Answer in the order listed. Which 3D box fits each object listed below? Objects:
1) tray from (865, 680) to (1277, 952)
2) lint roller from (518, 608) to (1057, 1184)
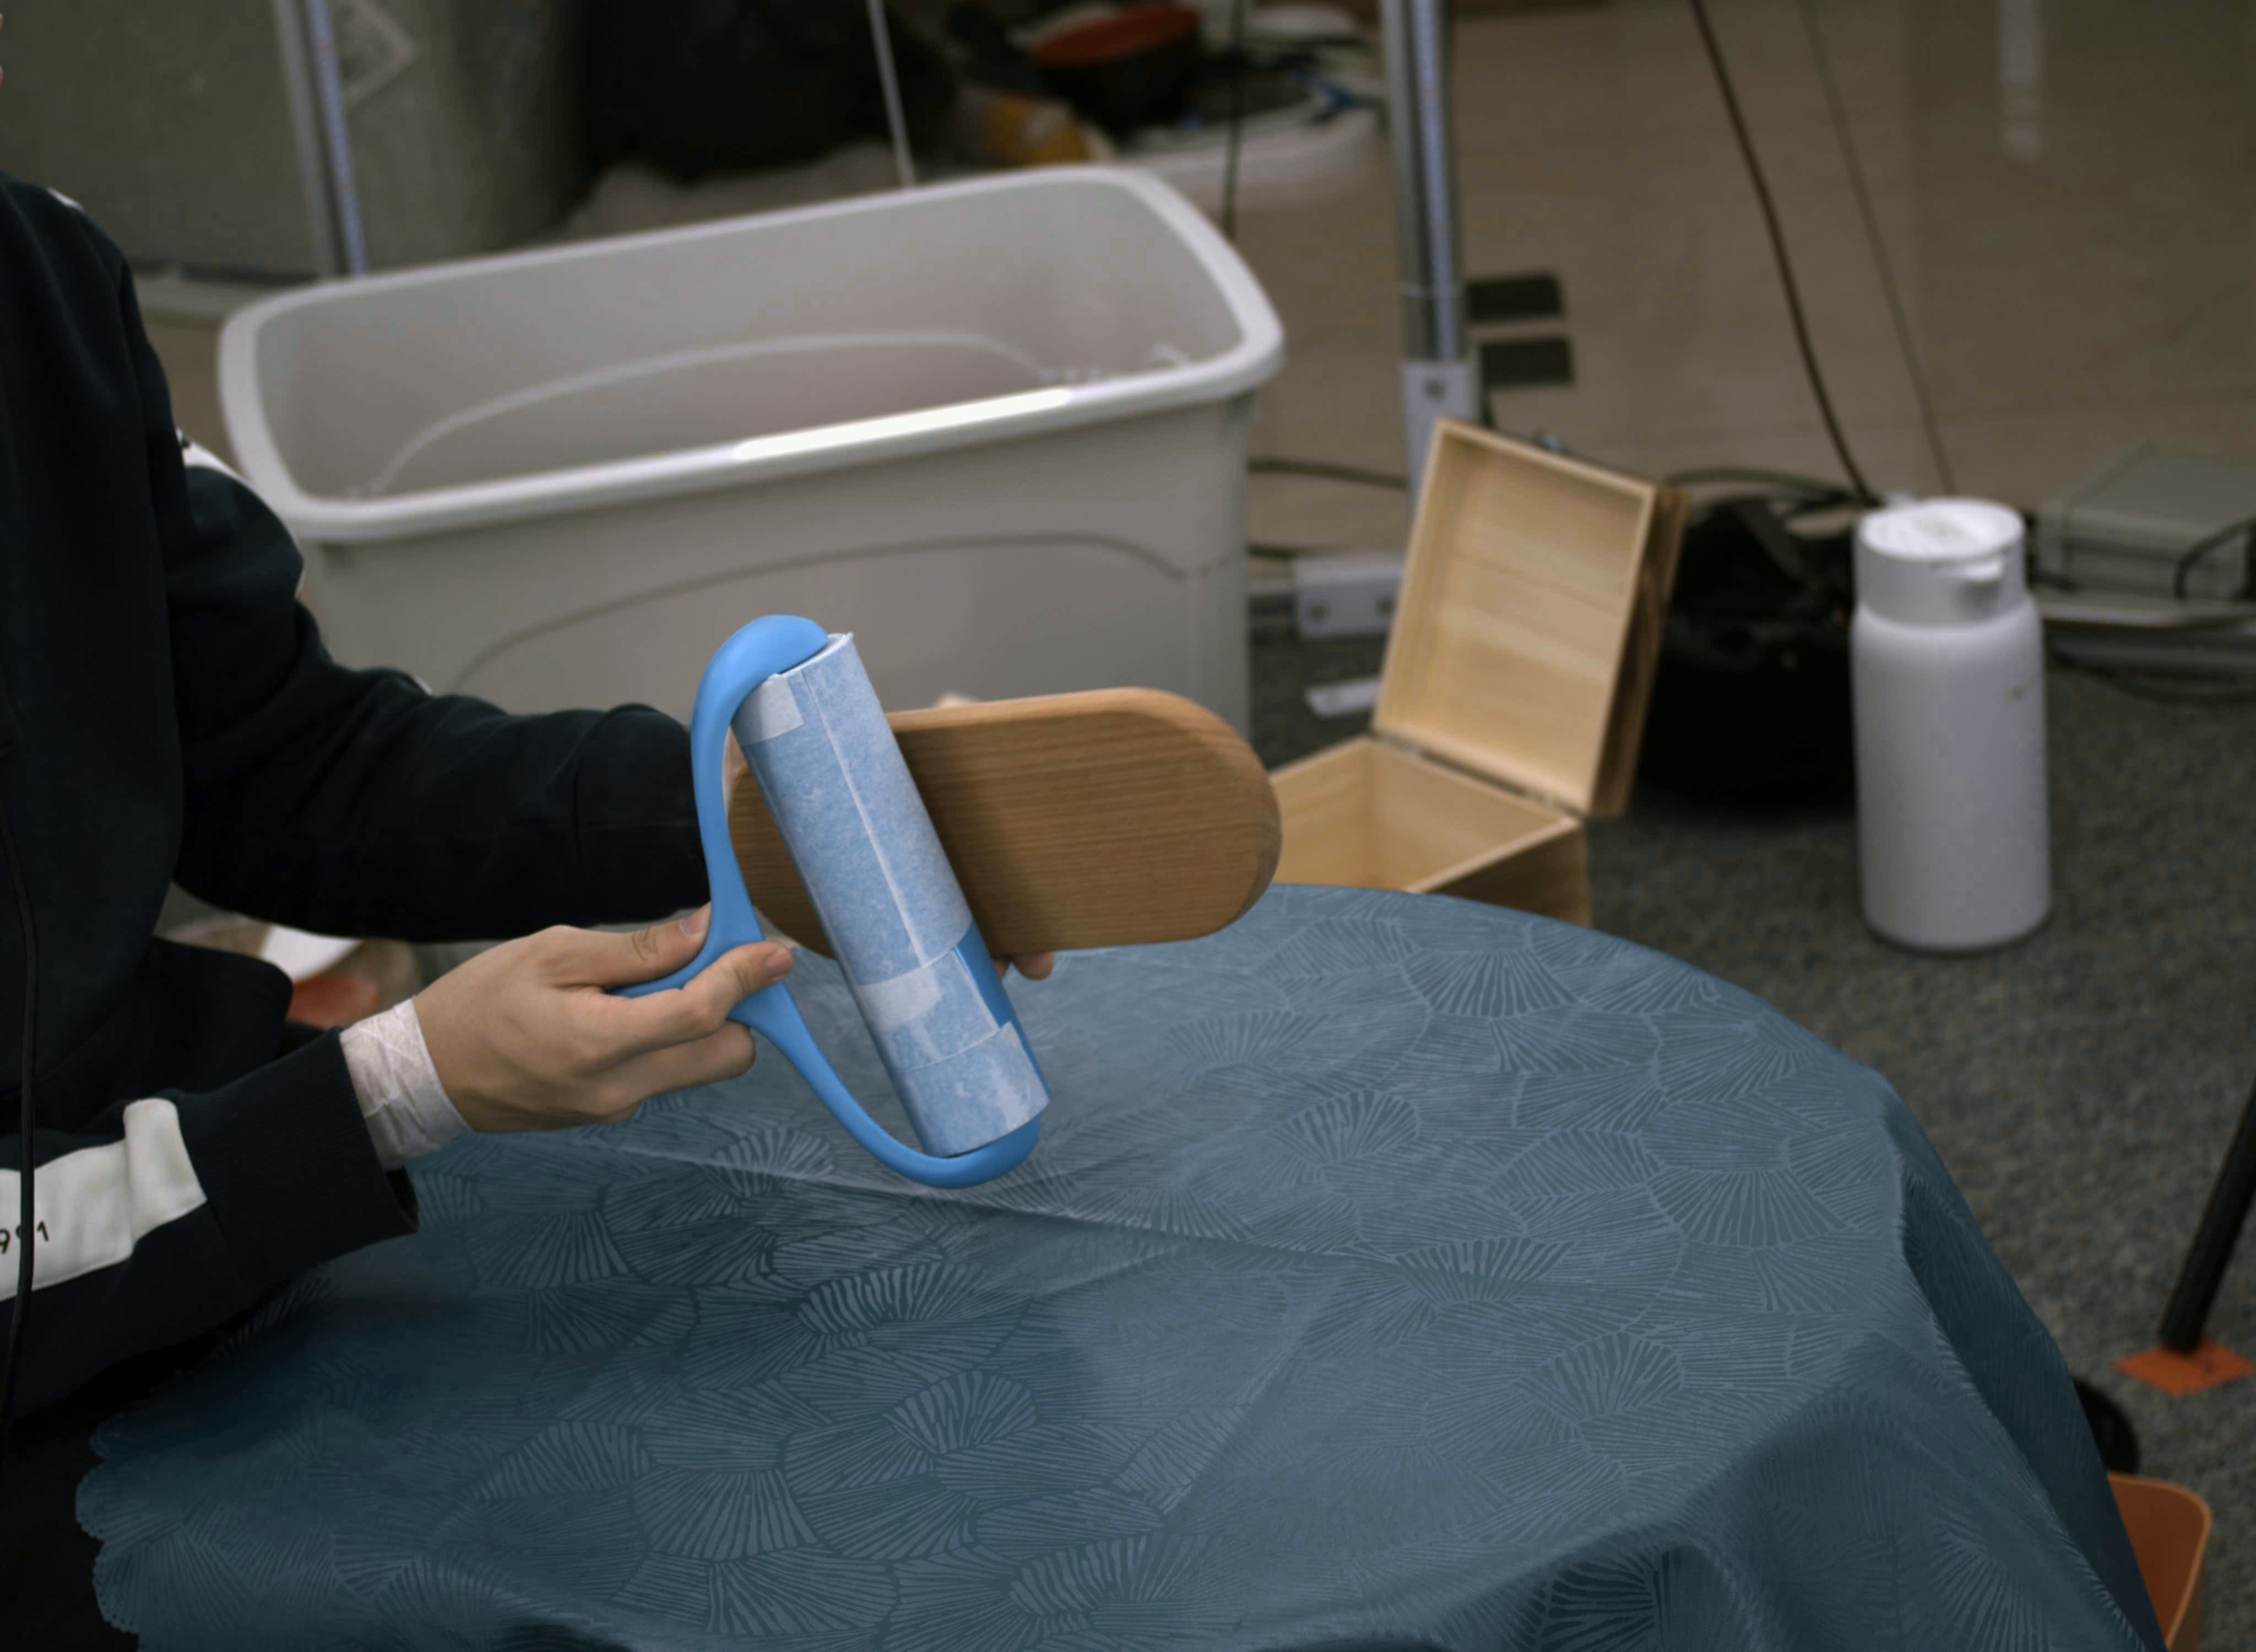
[{"bbox_3d":[-0.052,0.000,2.107,0.231,0.103,0.020,-5,23,26],"label":"tray"},{"bbox_3d":[-0.143,0.051,2.095,0.180,0.231,0.067,-26,15,3],"label":"lint roller"}]
